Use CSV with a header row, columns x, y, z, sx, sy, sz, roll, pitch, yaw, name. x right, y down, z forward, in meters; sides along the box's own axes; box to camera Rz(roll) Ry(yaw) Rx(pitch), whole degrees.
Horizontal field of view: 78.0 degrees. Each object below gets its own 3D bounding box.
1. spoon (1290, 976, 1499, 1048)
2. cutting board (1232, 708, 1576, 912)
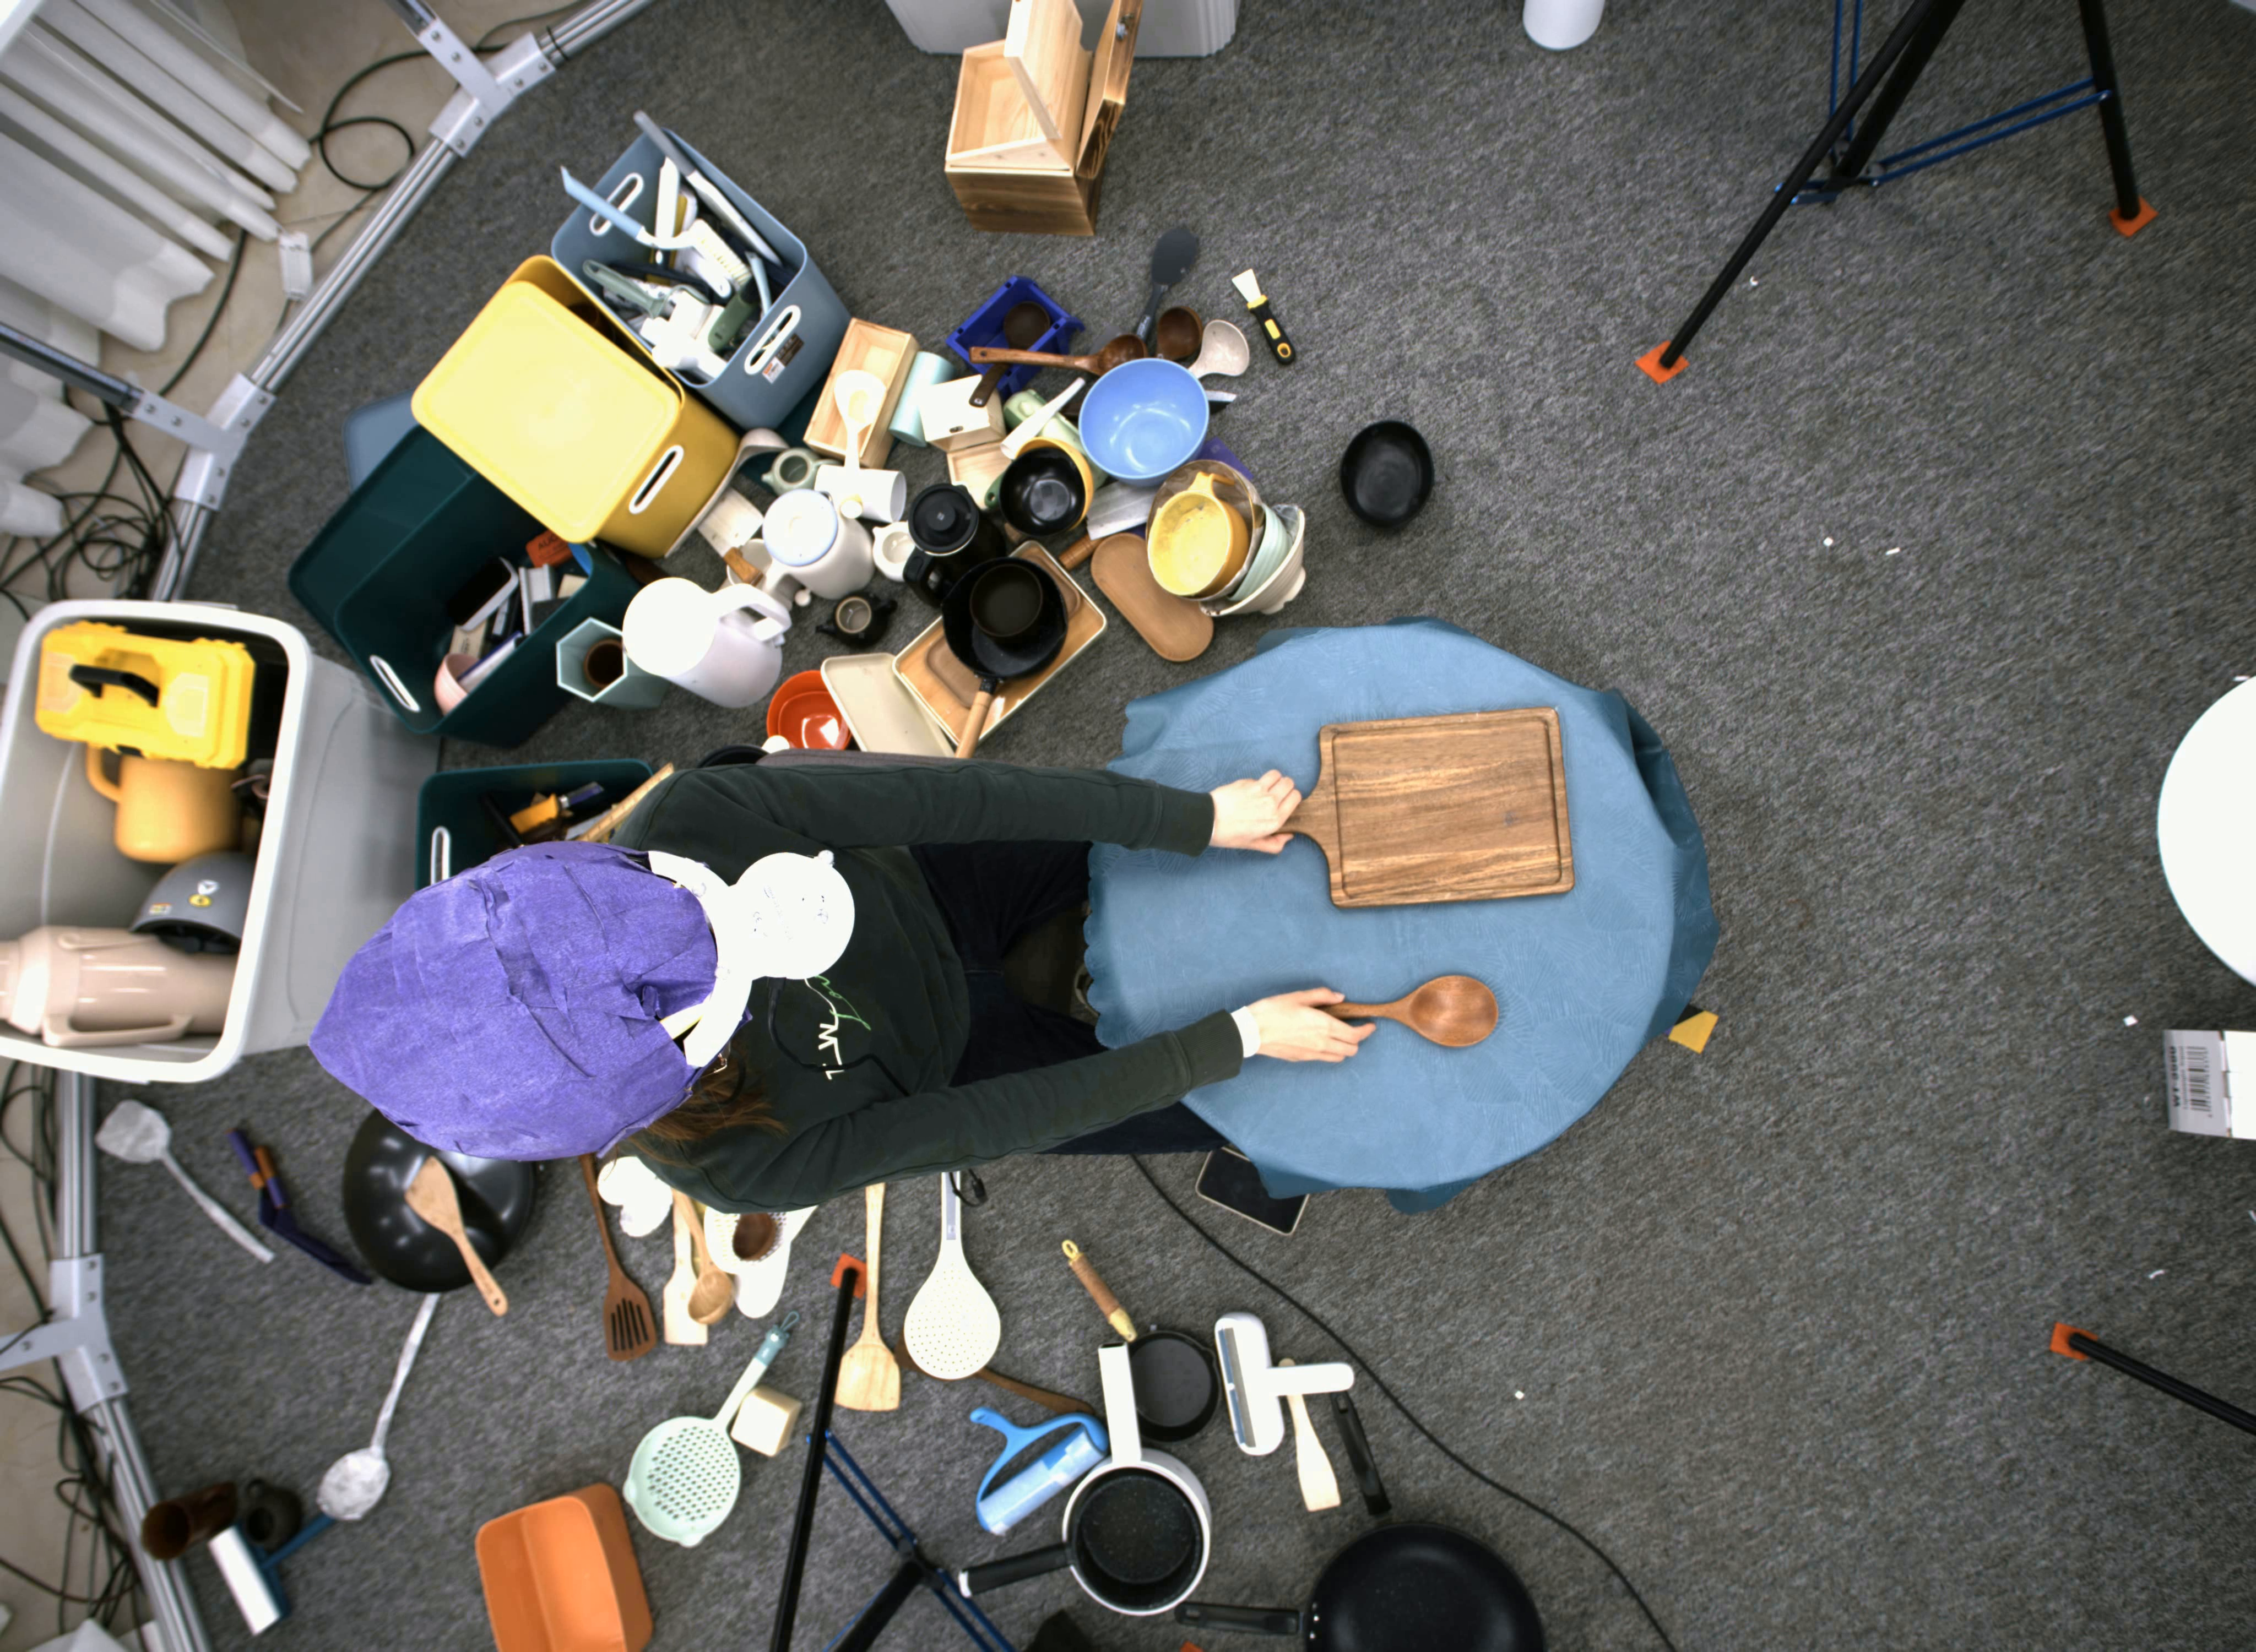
x,y,z,sx,sy,sz,roll,pitch,yaw,name
0.278,0.193,1.446,0.216,0.017,0.075,-2,87,9,spoon
0.285,-0.014,1.455,0.353,0.023,0.200,-4,86,9,cutting board
